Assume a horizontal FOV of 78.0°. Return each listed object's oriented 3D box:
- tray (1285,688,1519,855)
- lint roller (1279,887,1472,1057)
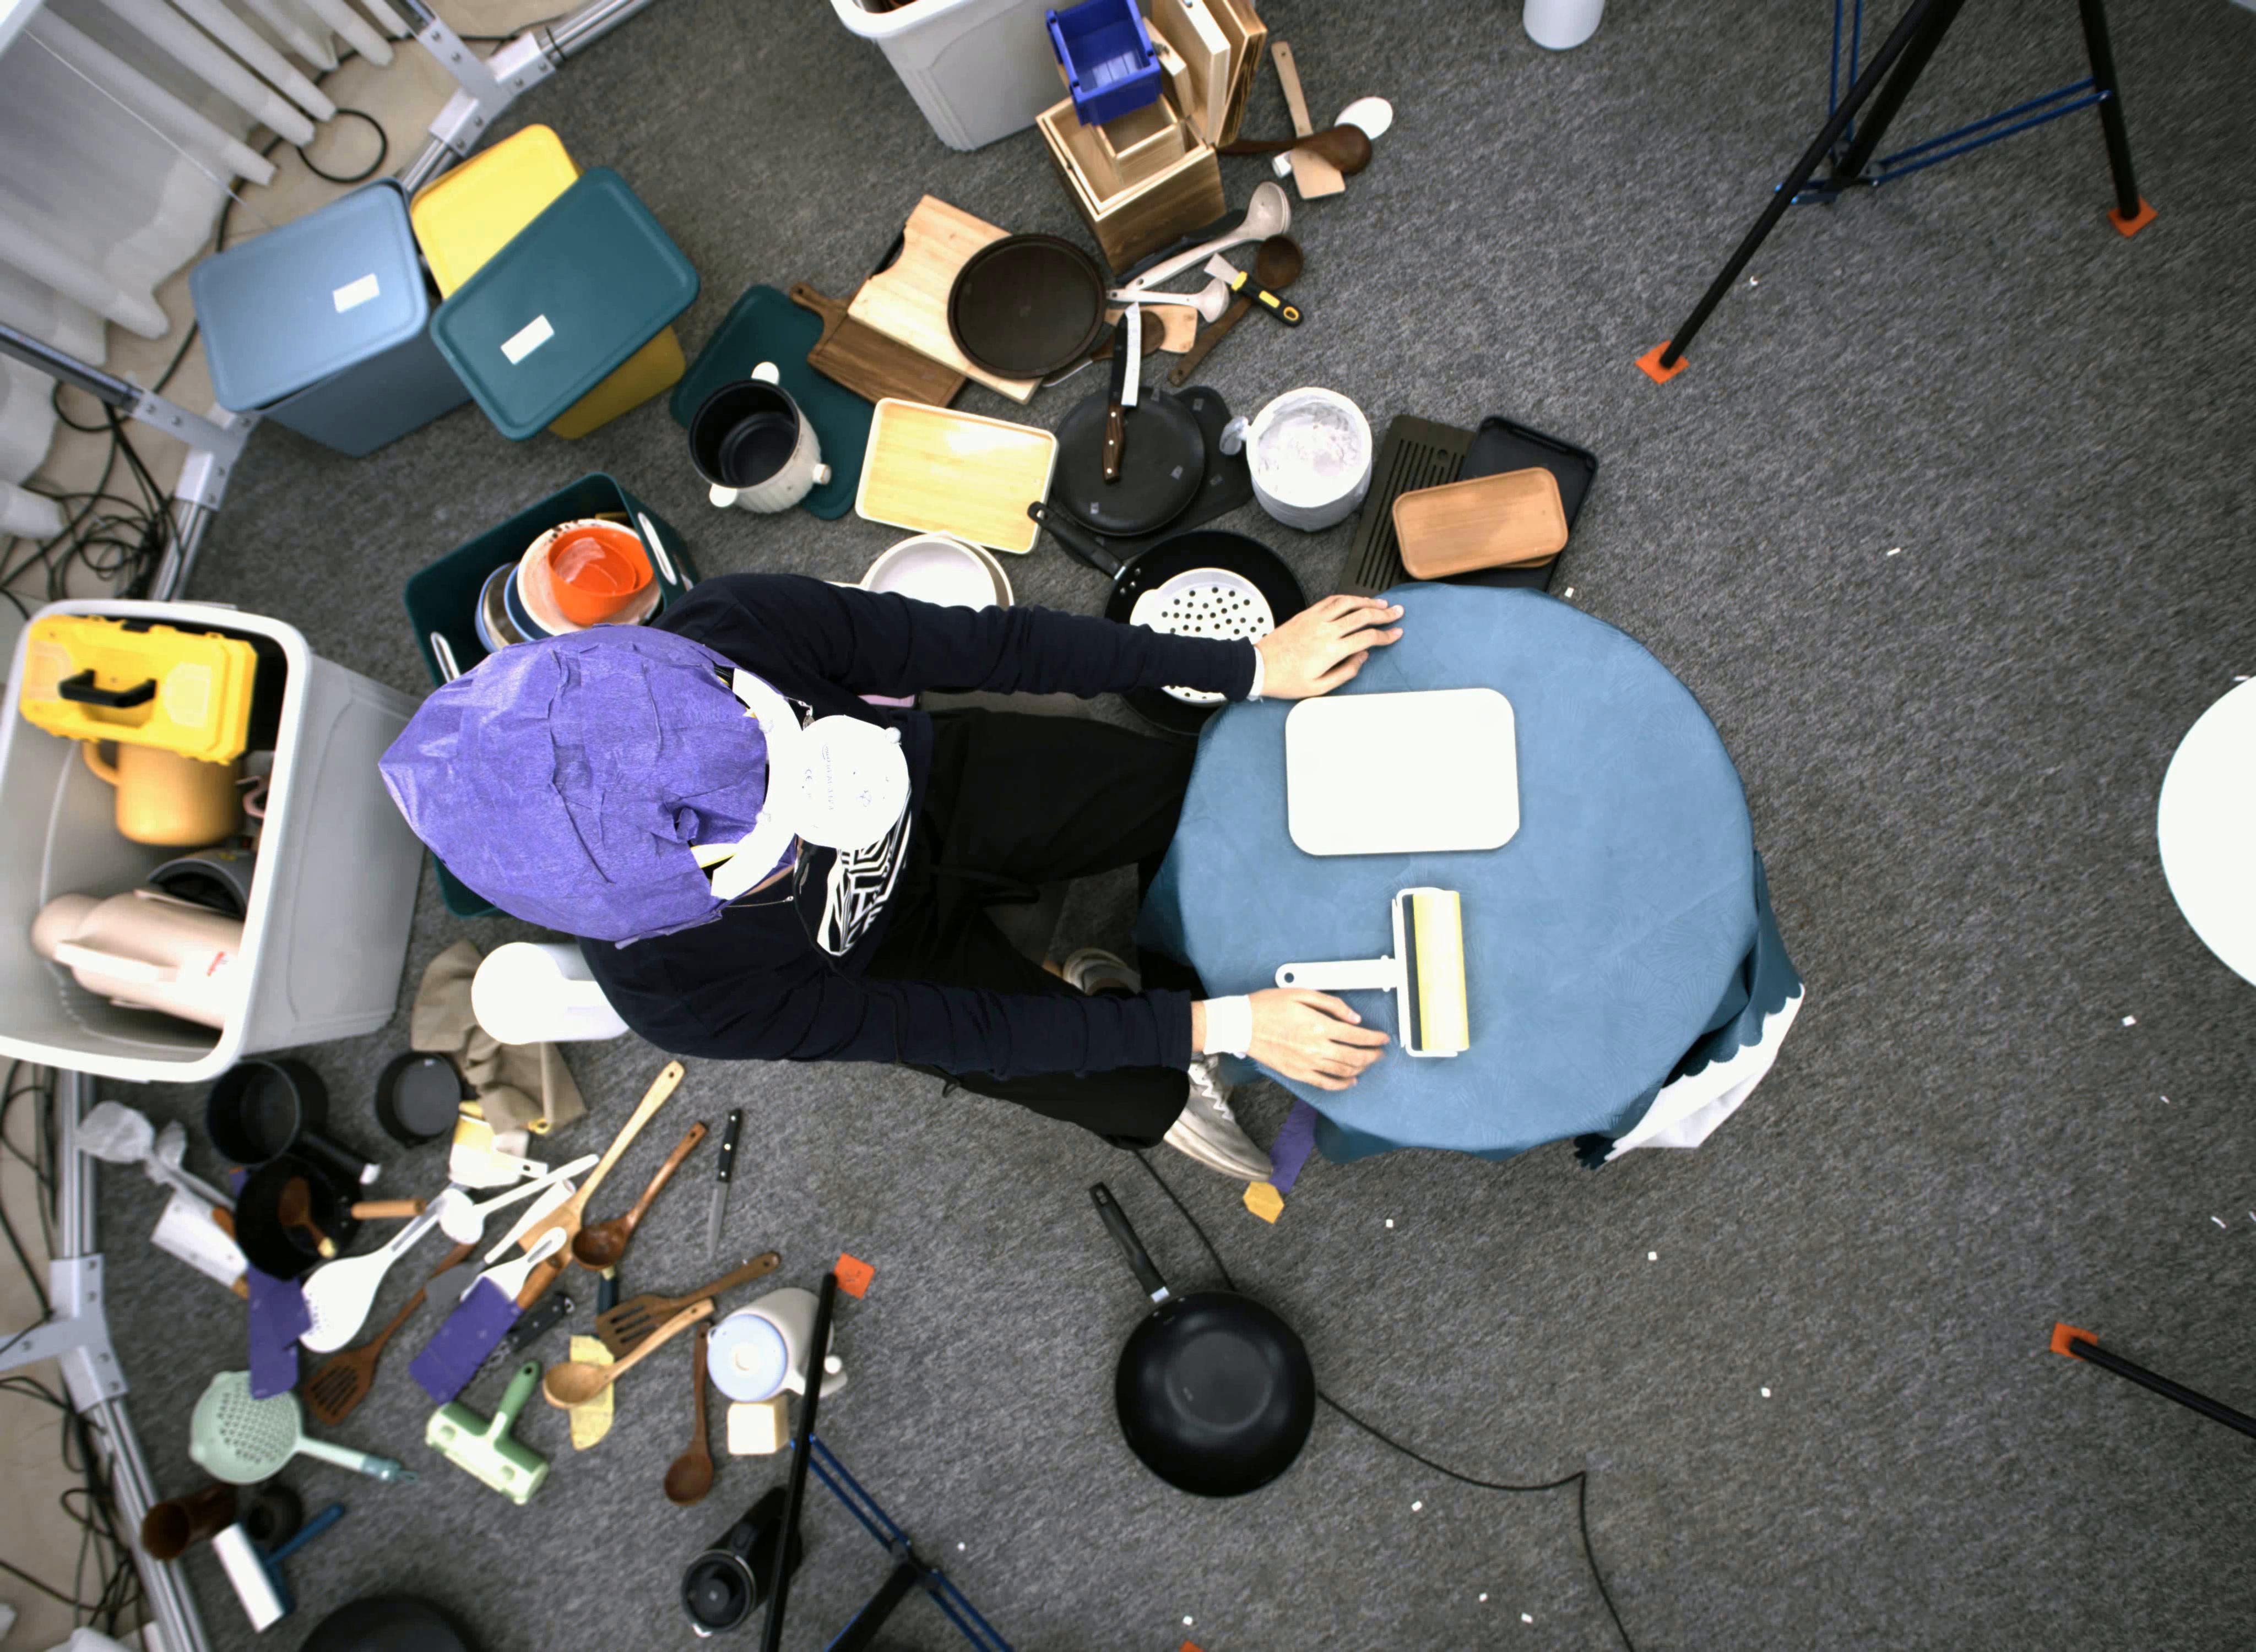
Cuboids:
[{"bbox_3d":[0.288,-0.058,1.455,0.241,0.017,0.170,-2,86,11],"label":"tray"},{"bbox_3d":[0.252,0.155,1.434,0.193,0.051,0.173,-5,85,7],"label":"lint roller"}]
